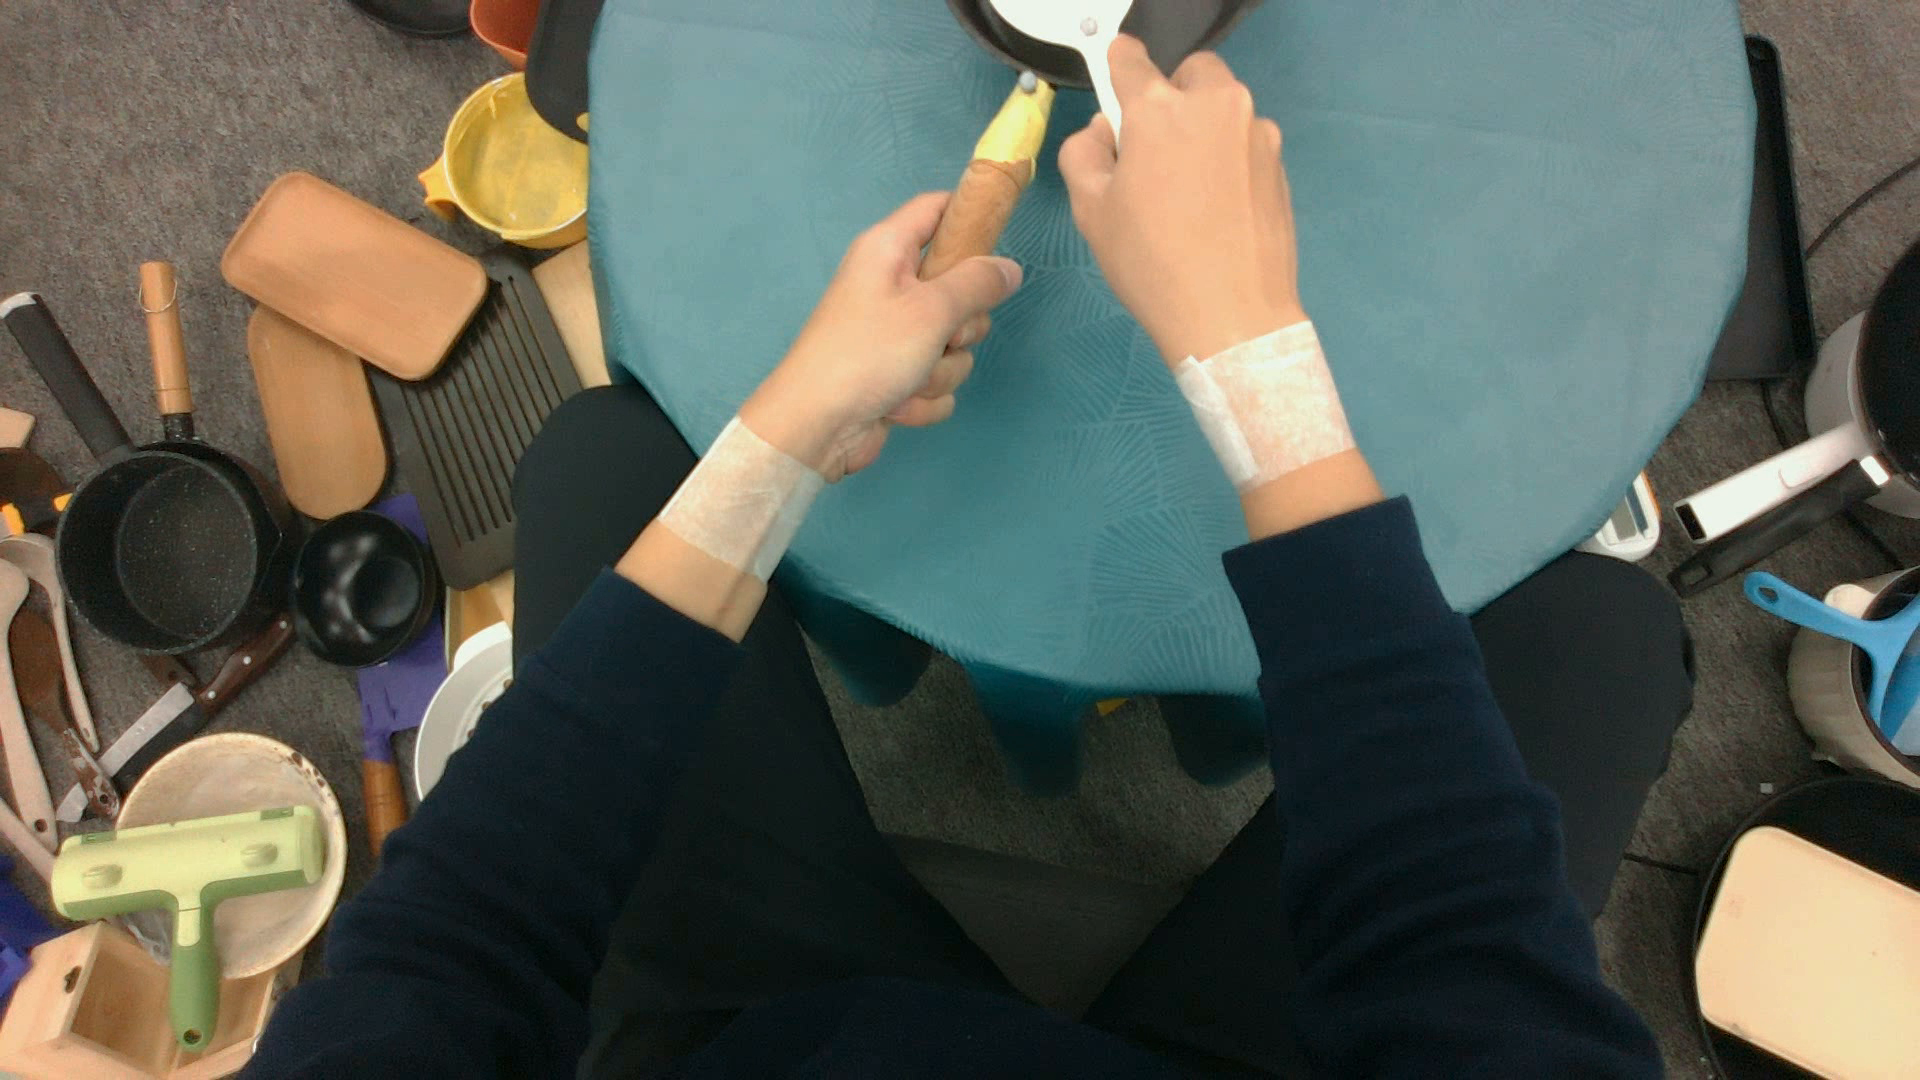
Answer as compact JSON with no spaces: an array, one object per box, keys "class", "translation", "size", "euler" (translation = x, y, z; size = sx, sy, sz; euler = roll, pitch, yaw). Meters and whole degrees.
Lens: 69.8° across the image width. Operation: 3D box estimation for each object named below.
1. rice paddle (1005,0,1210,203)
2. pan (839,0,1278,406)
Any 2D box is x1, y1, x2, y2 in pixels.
[{"class":"rice paddle","translation":[0.057,-0.227,0.604],"size":[0.069,0.029,0.206],"euler":[-19,57,1]},{"class":"pan","translation":[0.028,-0.200,0.625],"size":[0.169,0.049,0.324],"euler":[28,81,5]}]
